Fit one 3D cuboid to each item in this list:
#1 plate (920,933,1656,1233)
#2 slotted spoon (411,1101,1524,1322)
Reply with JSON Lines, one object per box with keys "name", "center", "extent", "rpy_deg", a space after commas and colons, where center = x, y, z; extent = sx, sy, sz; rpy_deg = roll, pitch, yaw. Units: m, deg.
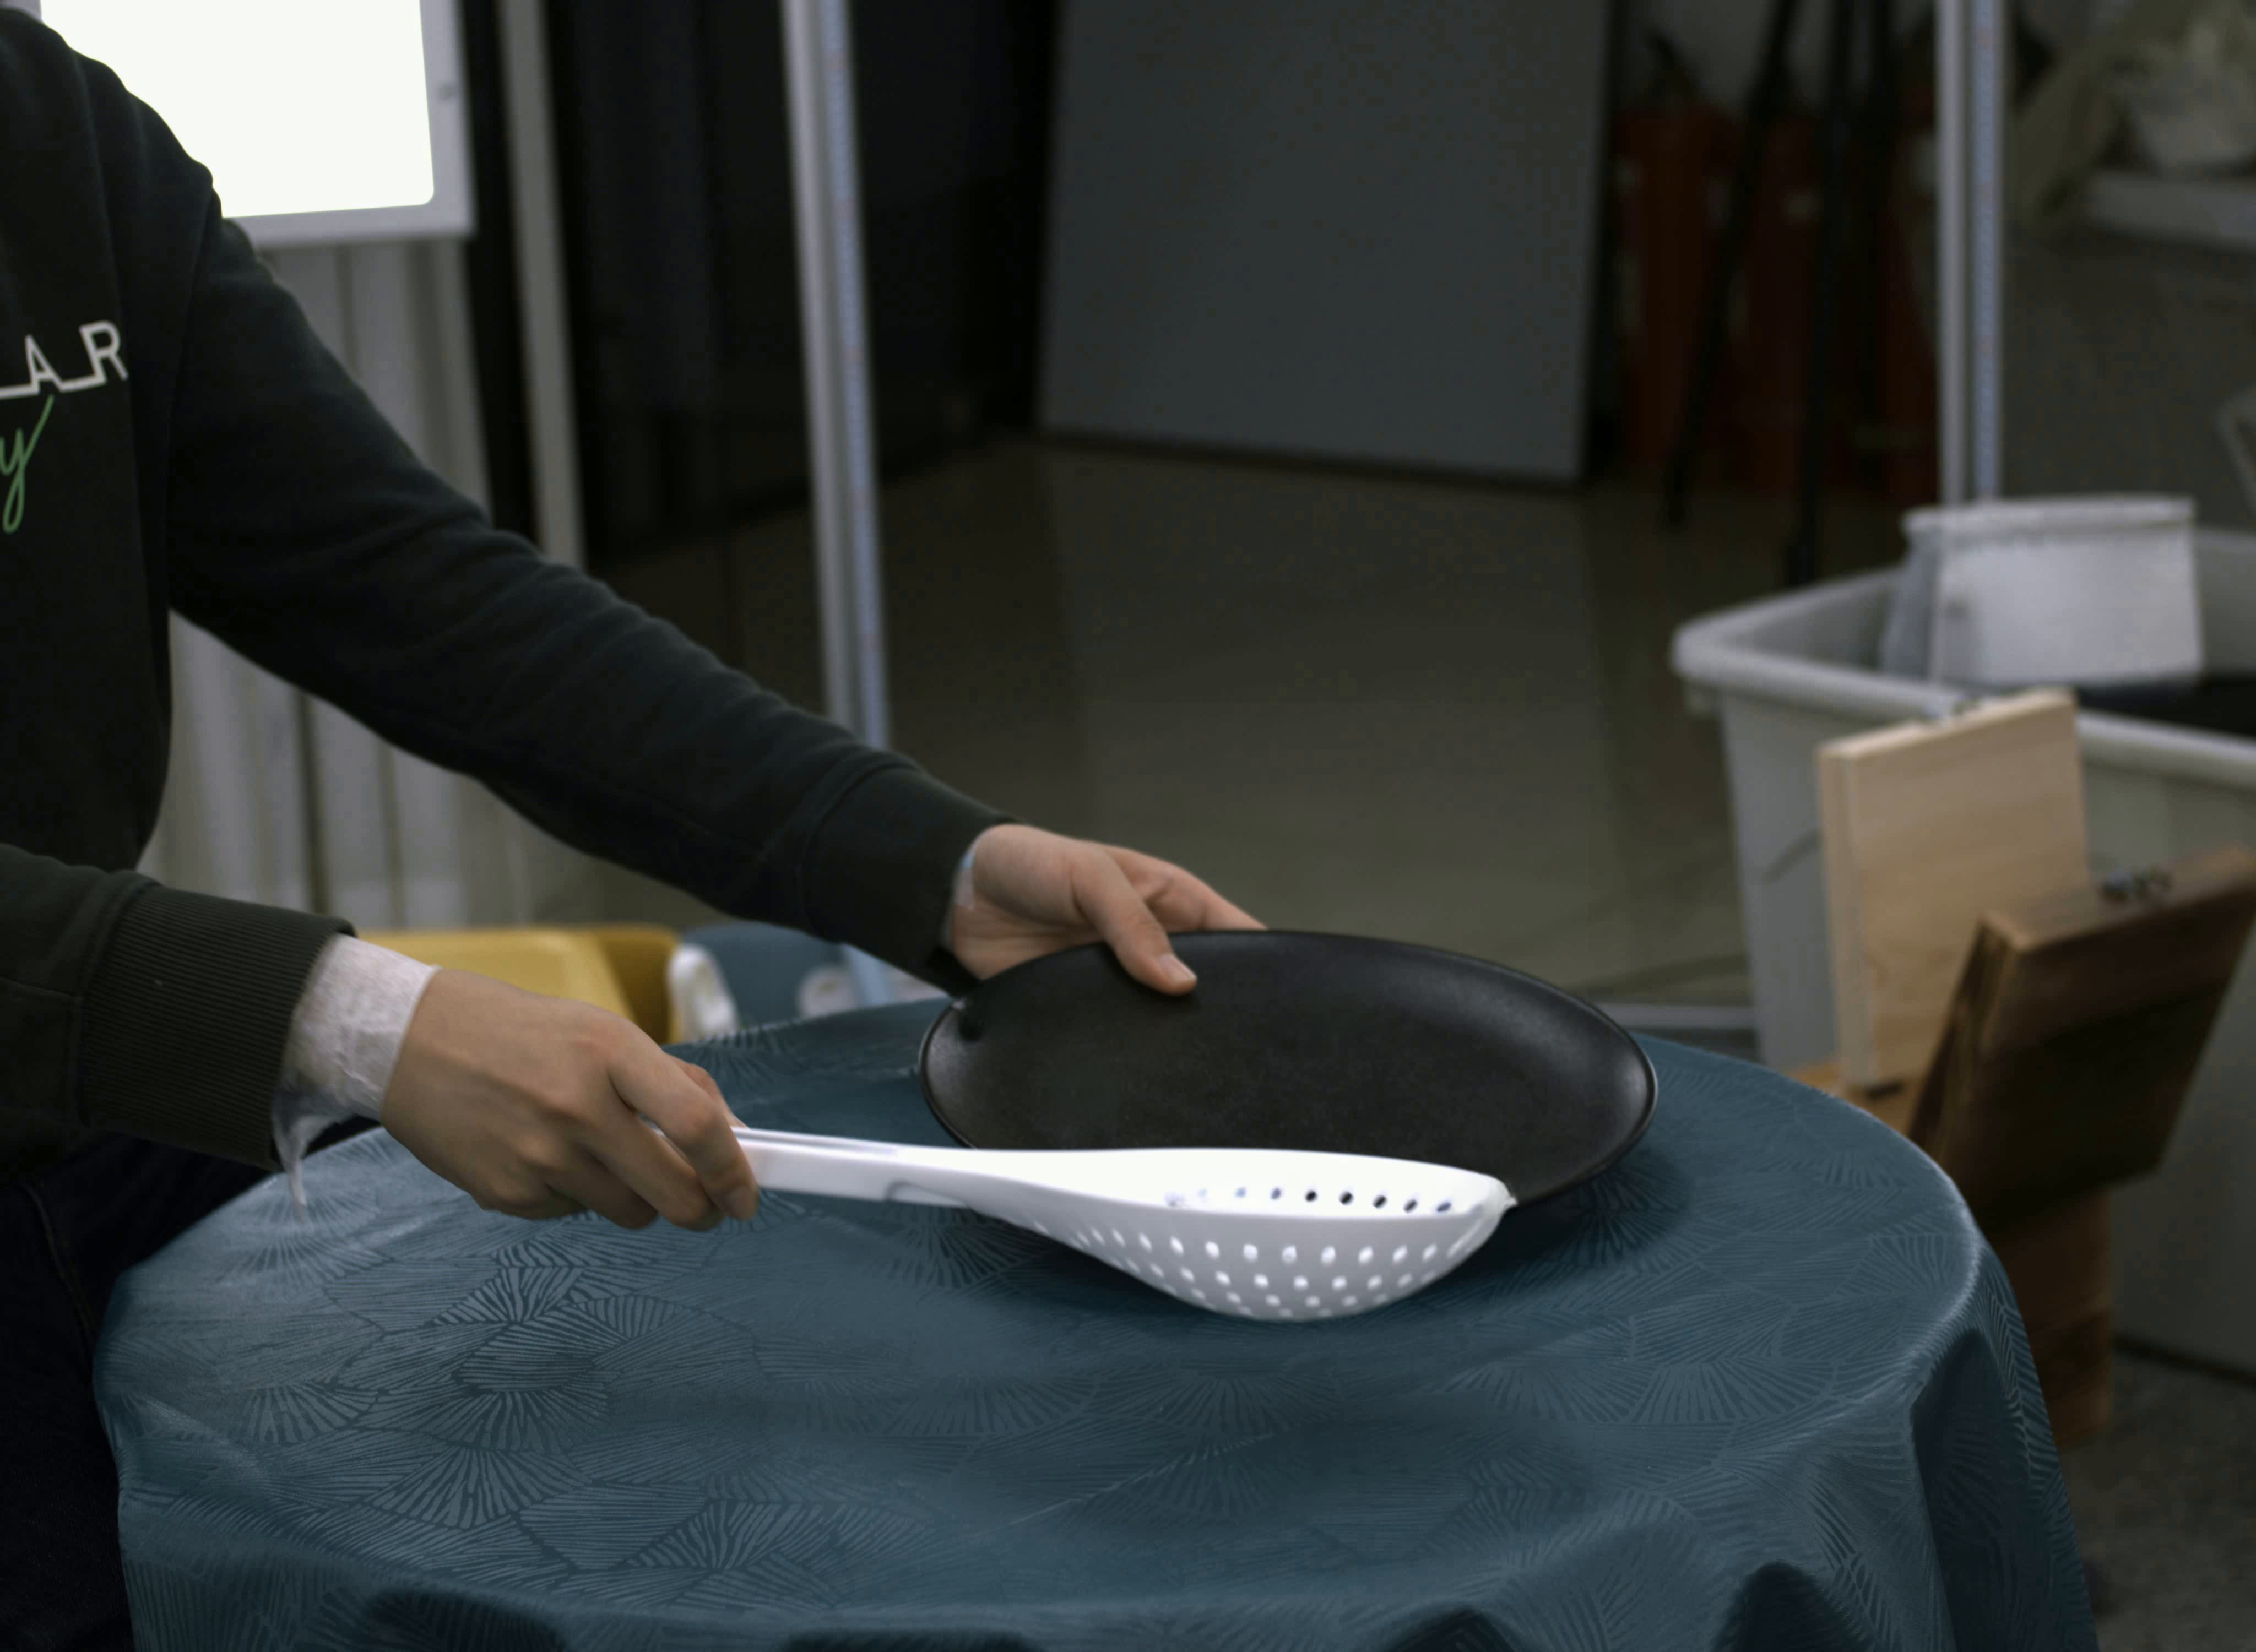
{"name": "plate", "center": [0.052, 0.090, 1.756], "extent": [0.241, 0.023, 0.245], "rpy_deg": [1, 21, -1]}
{"name": "slotted spoon", "center": [-0.053, 0.102, 1.575], "extent": [0.350, 0.046, 0.134], "rpy_deg": [9, 5, 23]}
